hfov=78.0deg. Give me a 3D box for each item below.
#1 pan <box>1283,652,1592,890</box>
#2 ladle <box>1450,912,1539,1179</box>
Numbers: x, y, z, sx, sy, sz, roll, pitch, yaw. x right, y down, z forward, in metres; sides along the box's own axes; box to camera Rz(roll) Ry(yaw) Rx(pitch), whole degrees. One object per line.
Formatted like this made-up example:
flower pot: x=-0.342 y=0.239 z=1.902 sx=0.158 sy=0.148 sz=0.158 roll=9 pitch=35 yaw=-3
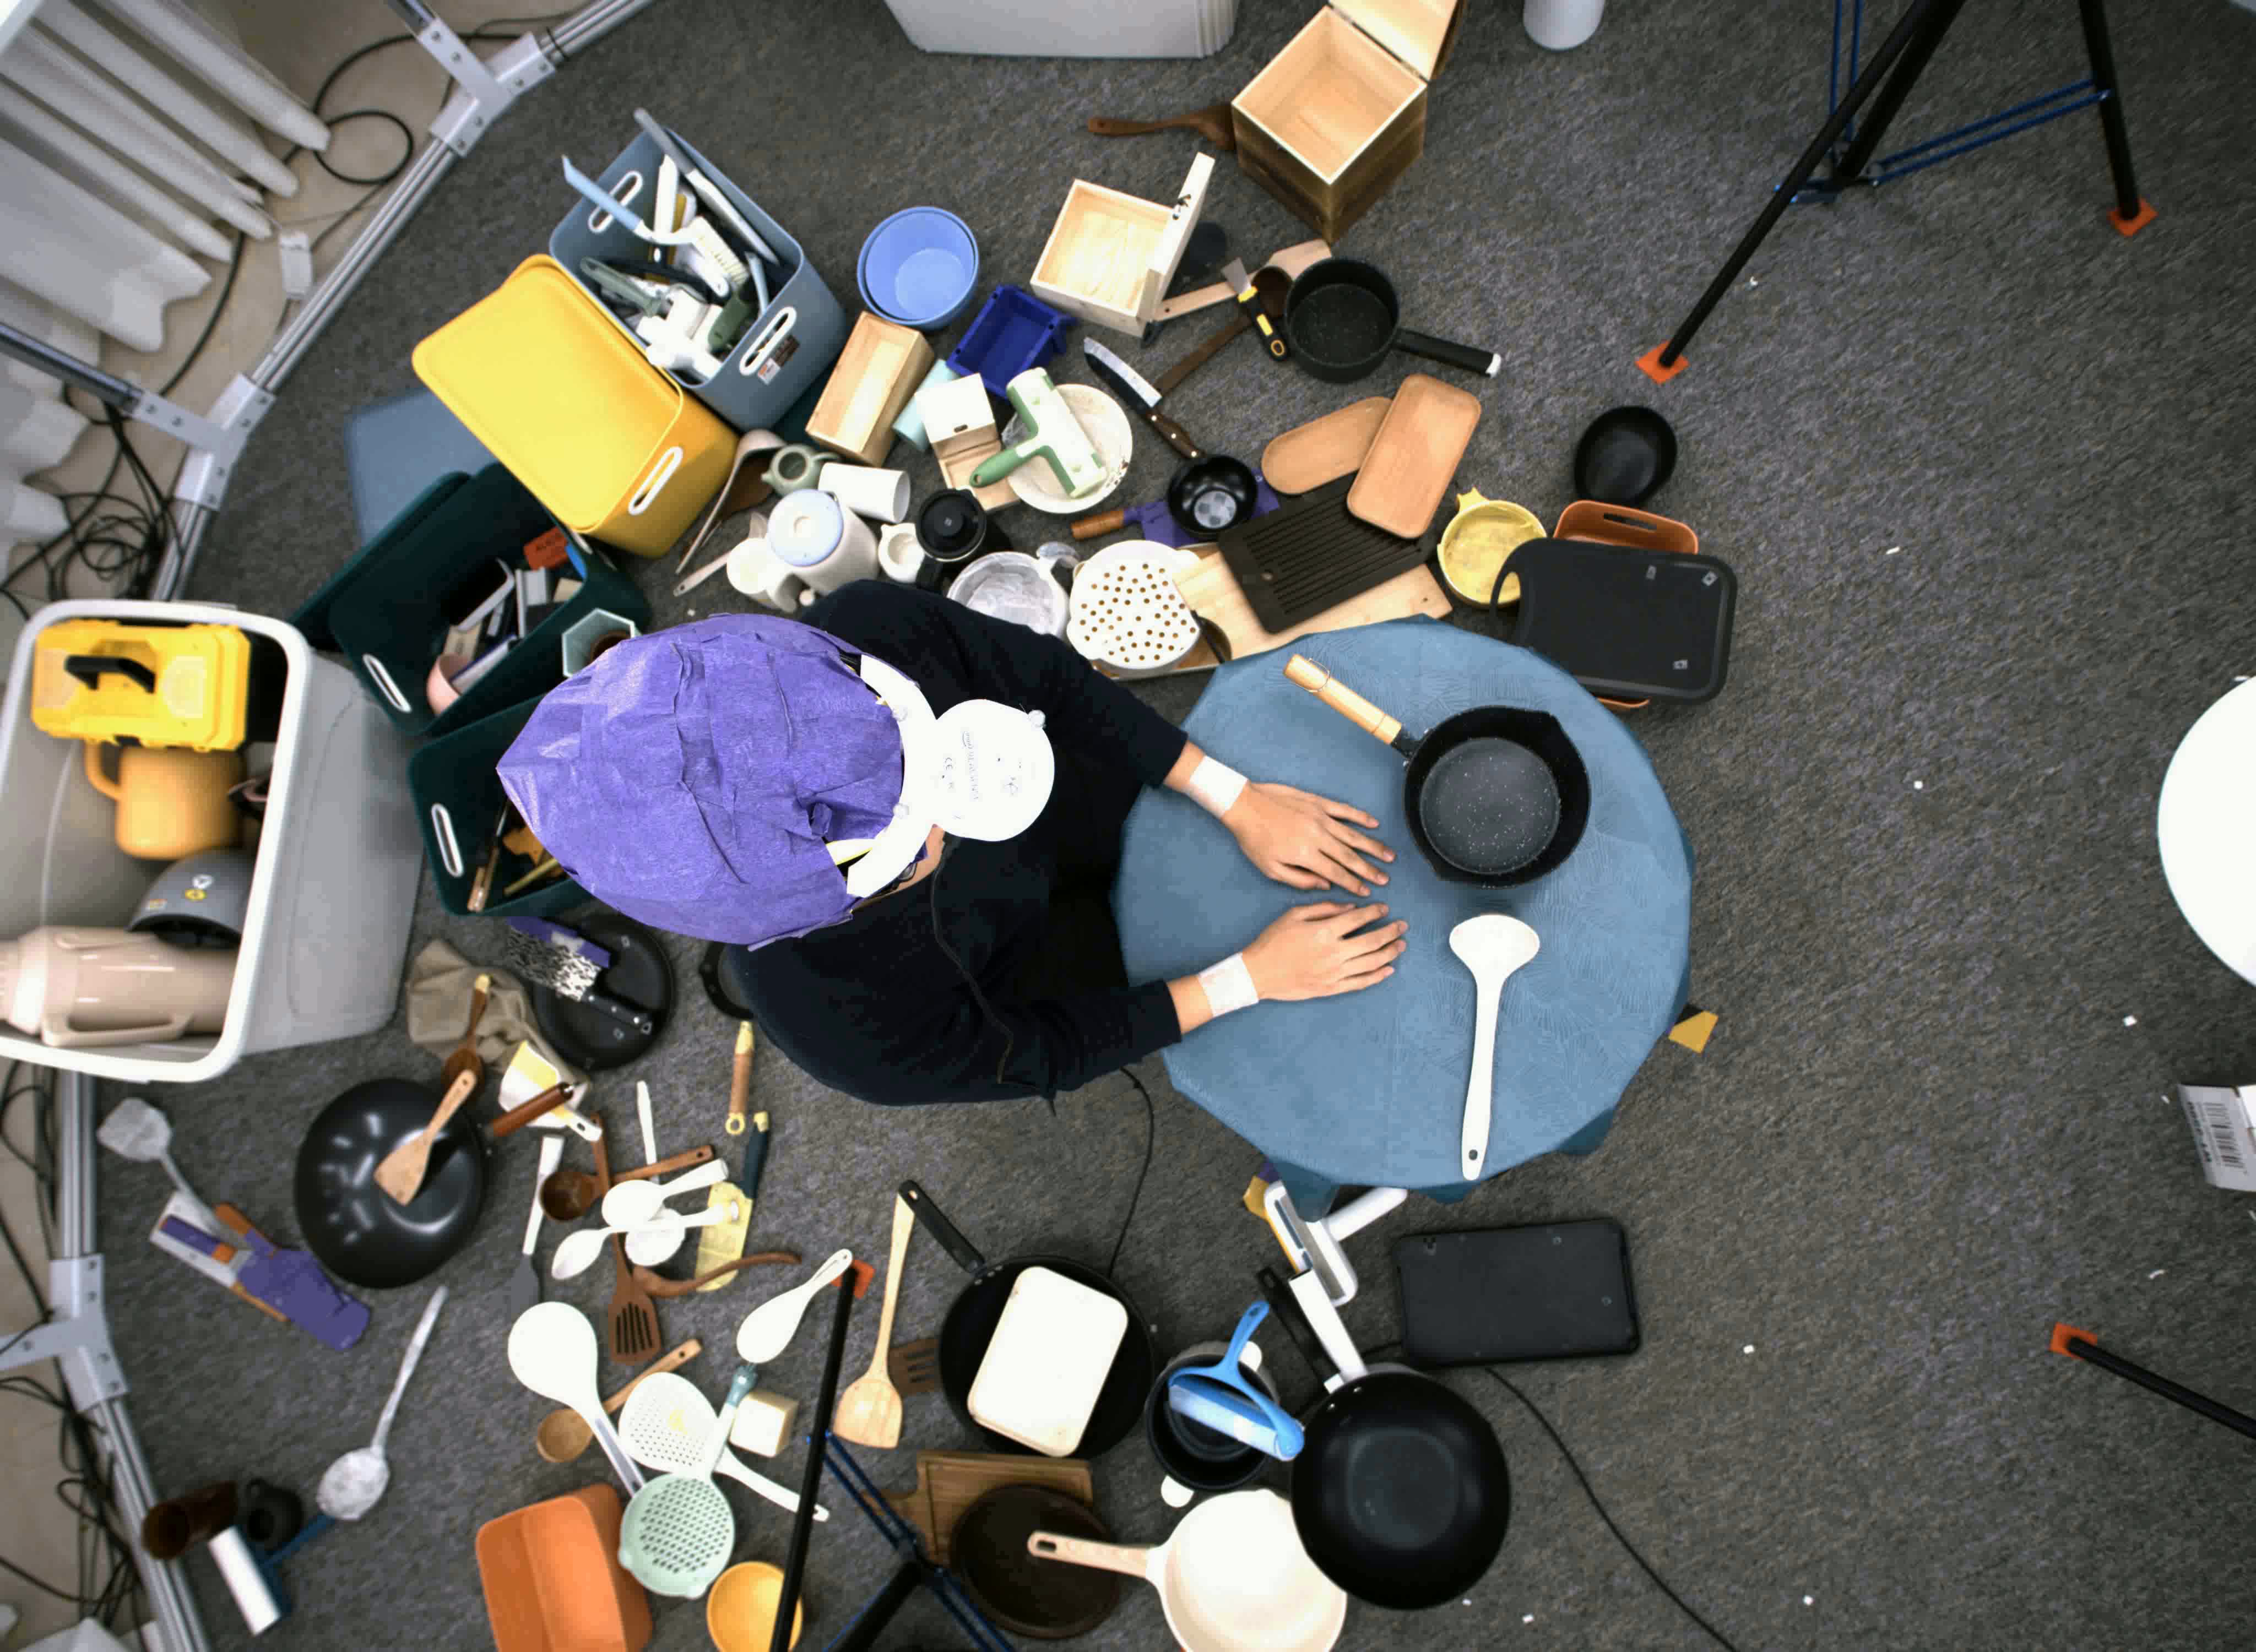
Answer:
pan: x=0.305 y=-0.070 z=1.406 sx=0.342 sy=0.108 sz=0.208 roll=33 pitch=93 yaw=9
ladle: x=0.362 y=0.222 z=1.399 sx=0.089 sy=0.069 sz=0.274 roll=6 pitch=87 yaw=7
